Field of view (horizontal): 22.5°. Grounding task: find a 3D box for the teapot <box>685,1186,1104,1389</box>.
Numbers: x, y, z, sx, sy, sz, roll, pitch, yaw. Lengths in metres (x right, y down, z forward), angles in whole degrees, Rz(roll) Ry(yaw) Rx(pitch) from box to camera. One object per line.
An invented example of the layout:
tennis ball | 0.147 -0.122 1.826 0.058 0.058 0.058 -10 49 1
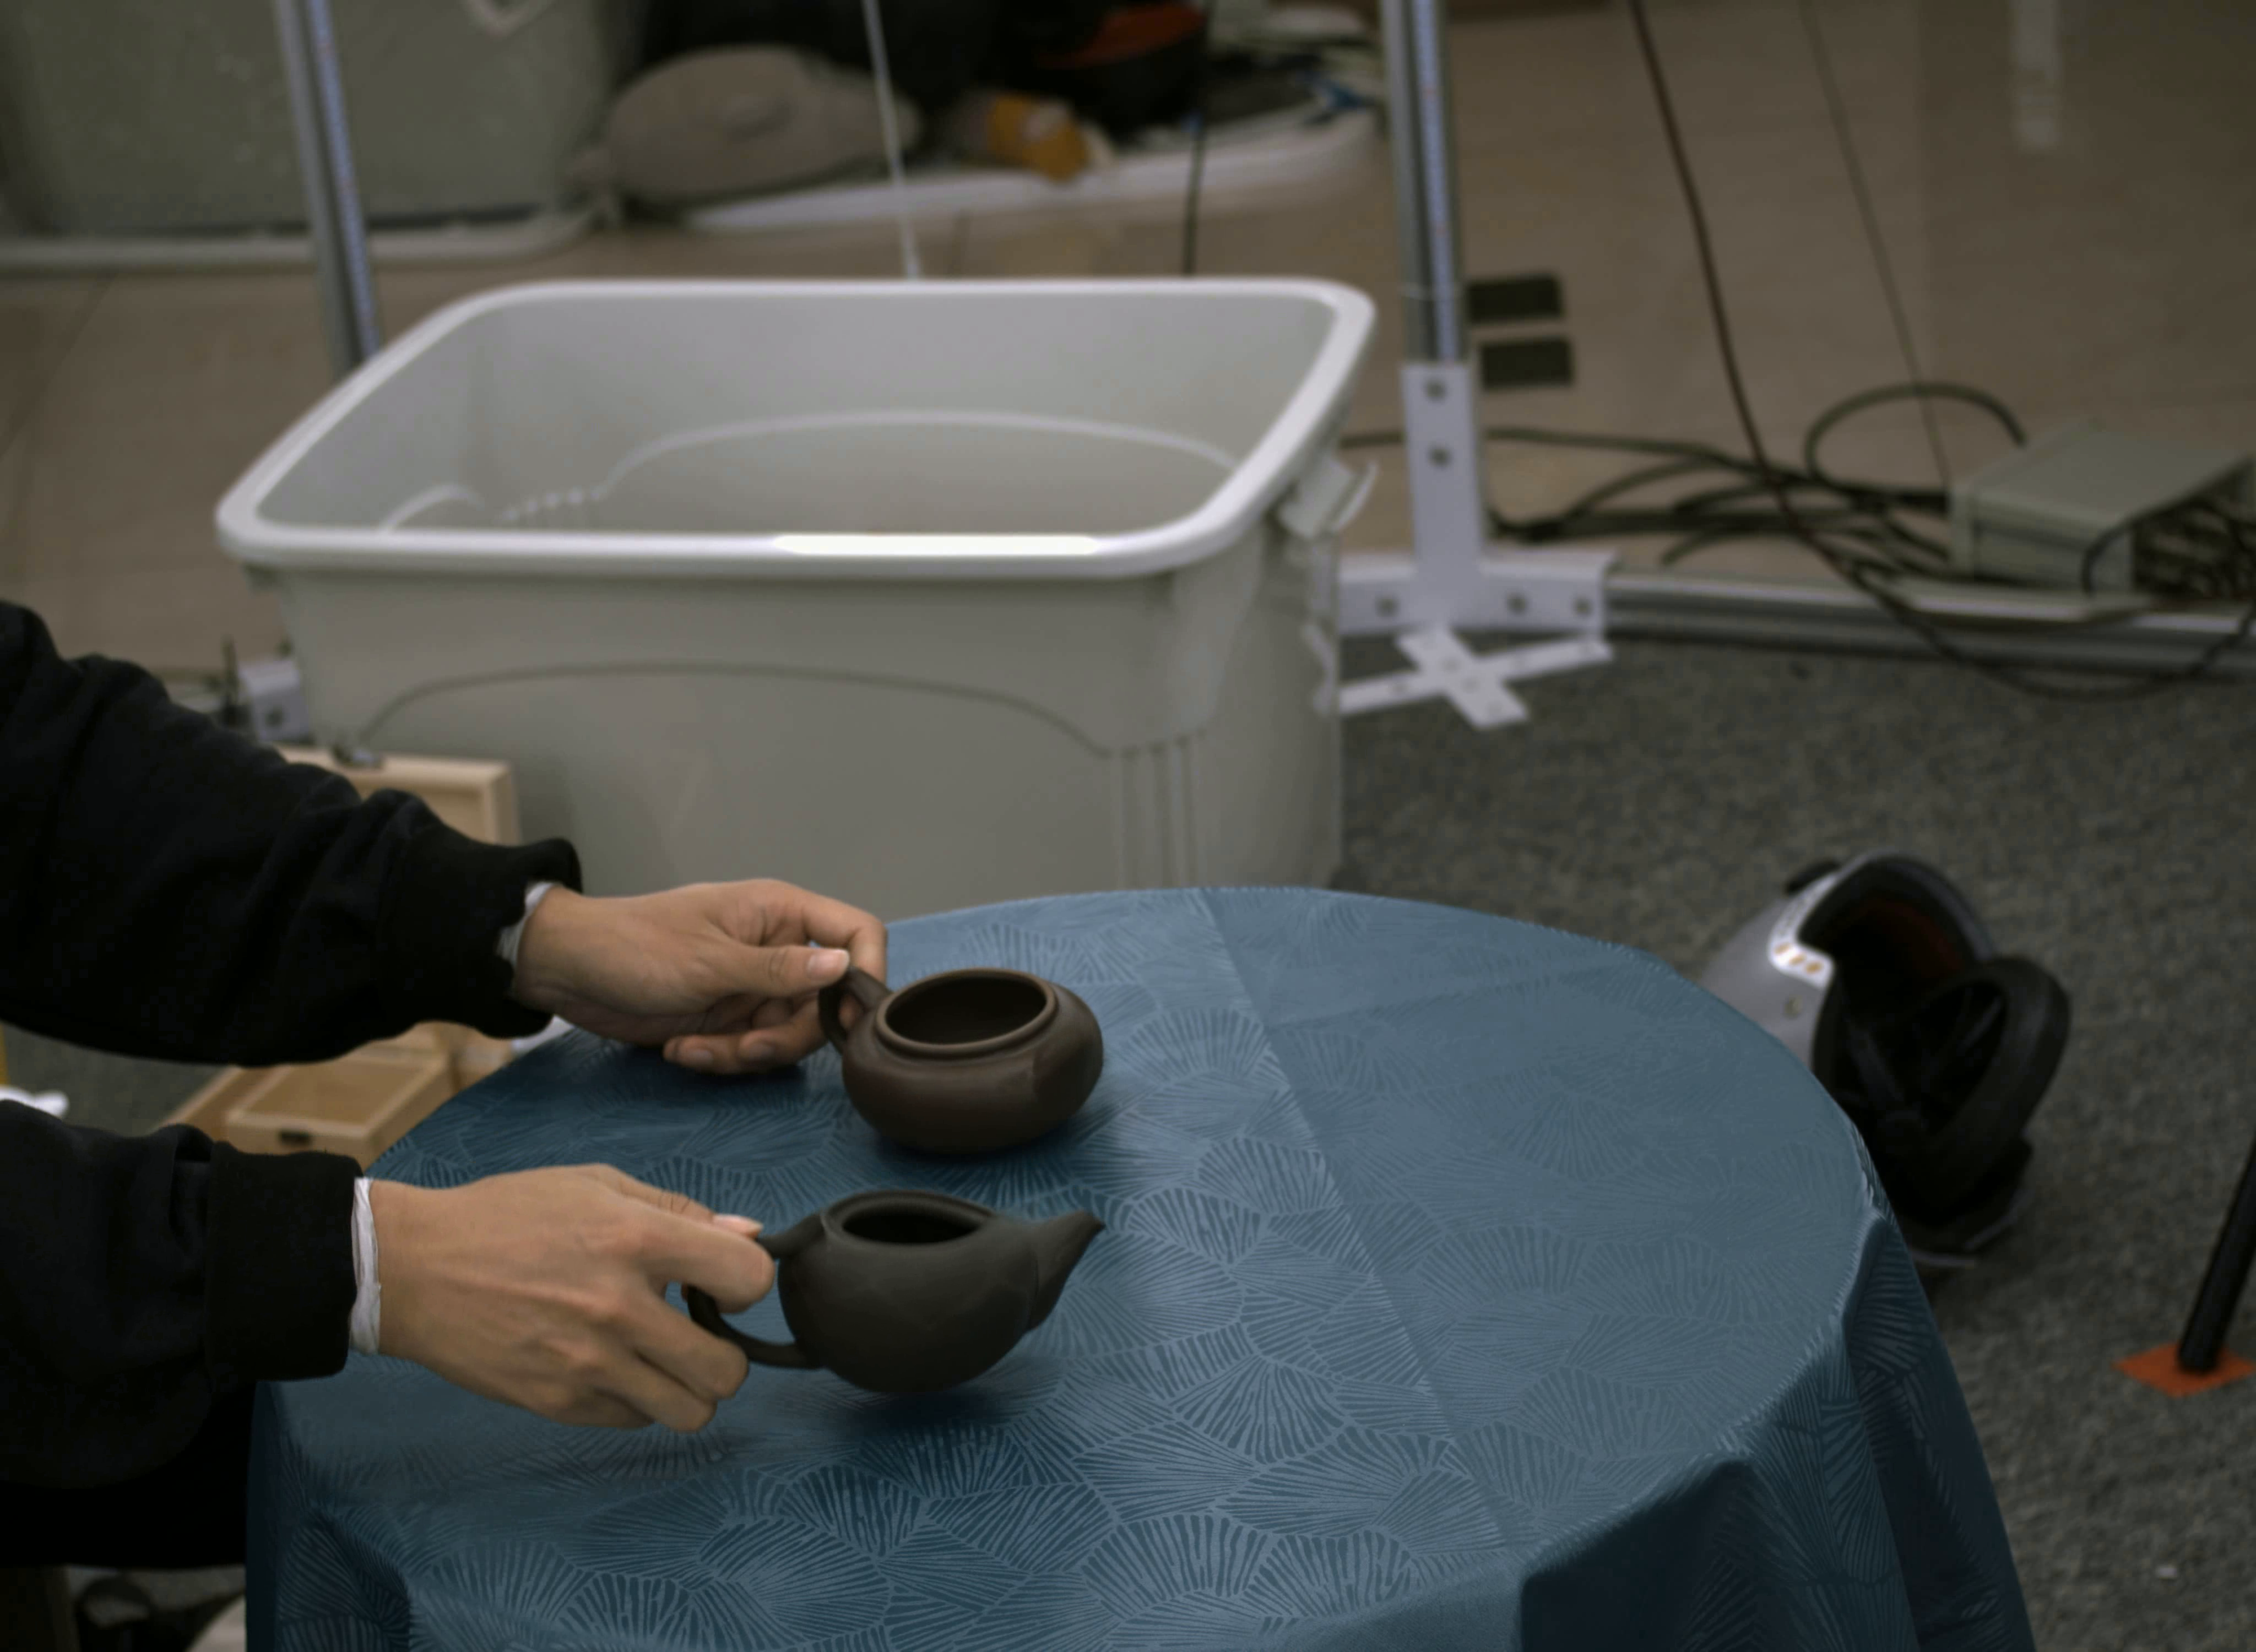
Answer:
teapot | -0.082 0.162 2.014 0.154 0.065 0.091 -3 16 -18

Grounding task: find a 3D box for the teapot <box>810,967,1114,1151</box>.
teapot | -0.065 0.088 2.209 0.152 0.054 0.101 13 29 34
